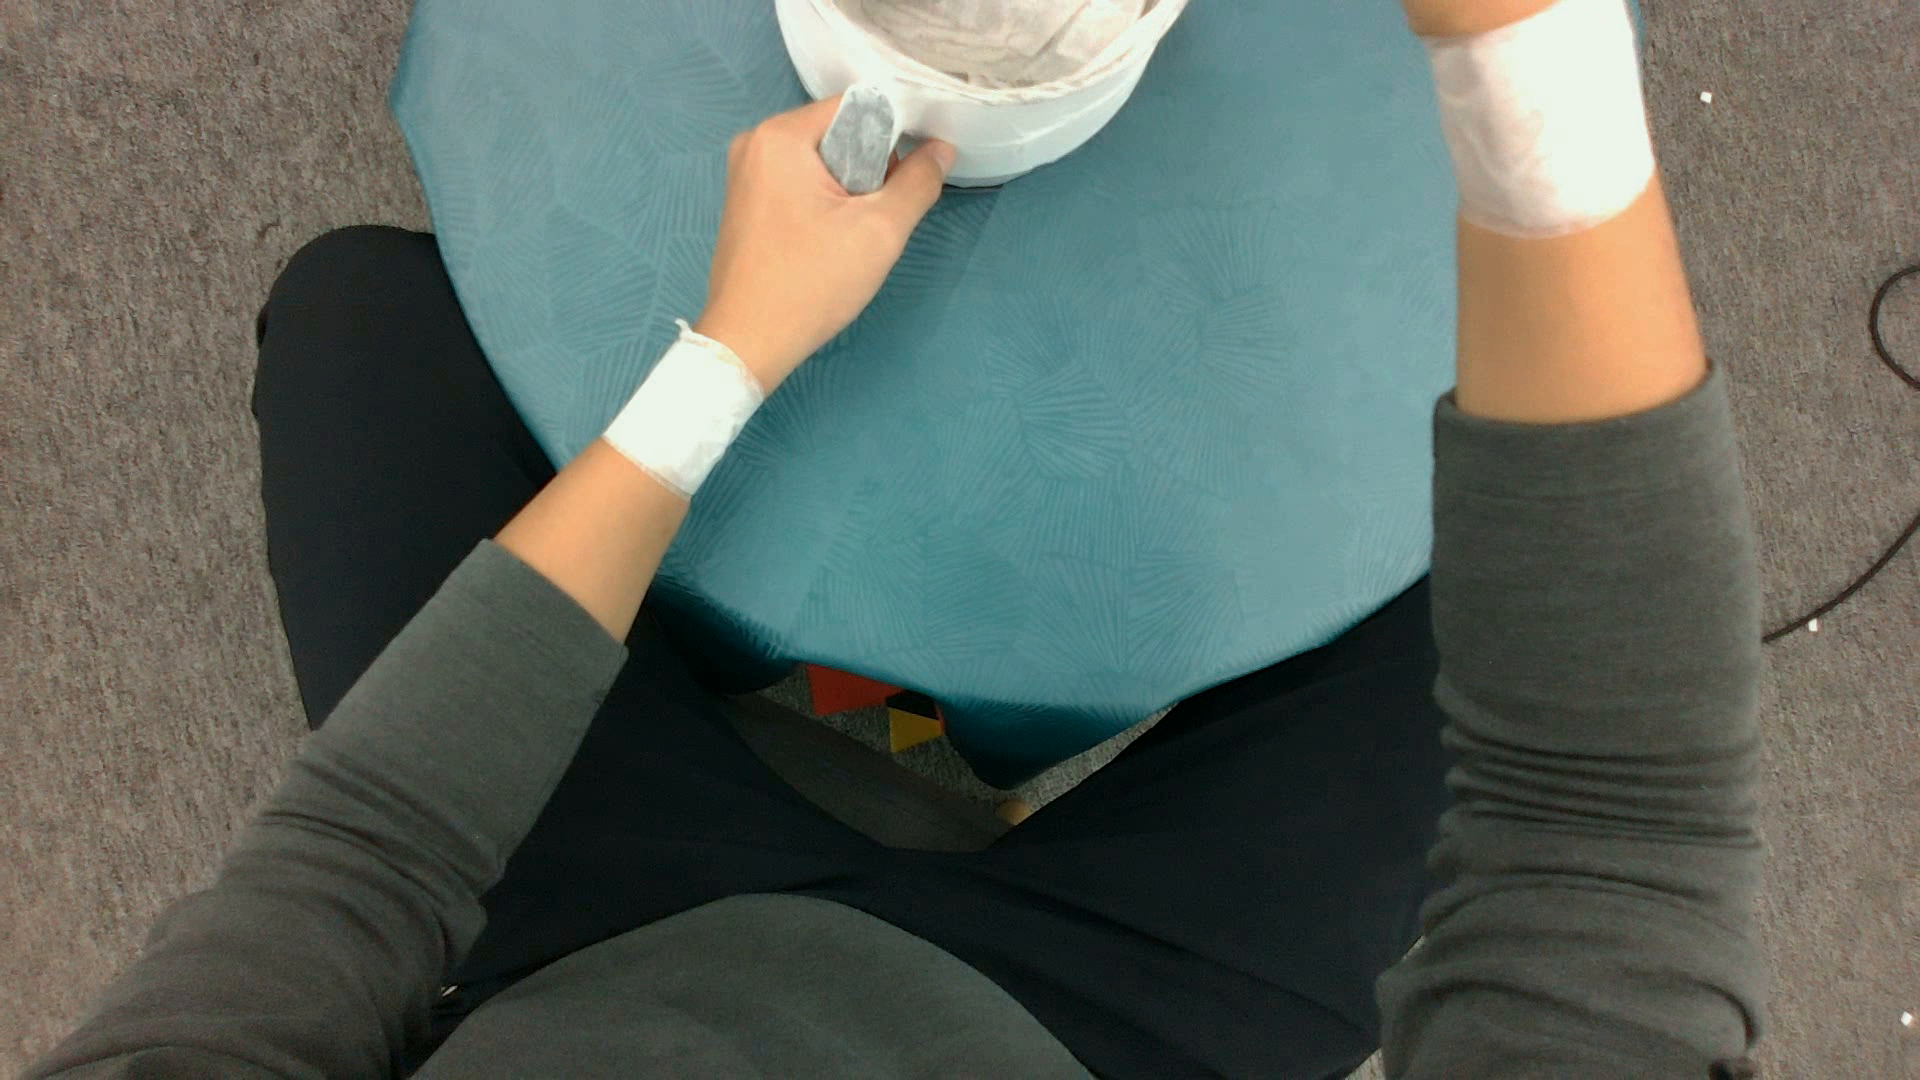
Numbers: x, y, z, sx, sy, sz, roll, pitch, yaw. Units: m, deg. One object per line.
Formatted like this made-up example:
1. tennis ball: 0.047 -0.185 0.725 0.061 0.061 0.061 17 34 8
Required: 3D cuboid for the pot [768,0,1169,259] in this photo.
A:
1. pot: -0.009 -0.234 0.593 0.179 0.136 0.234 27 86 -5
